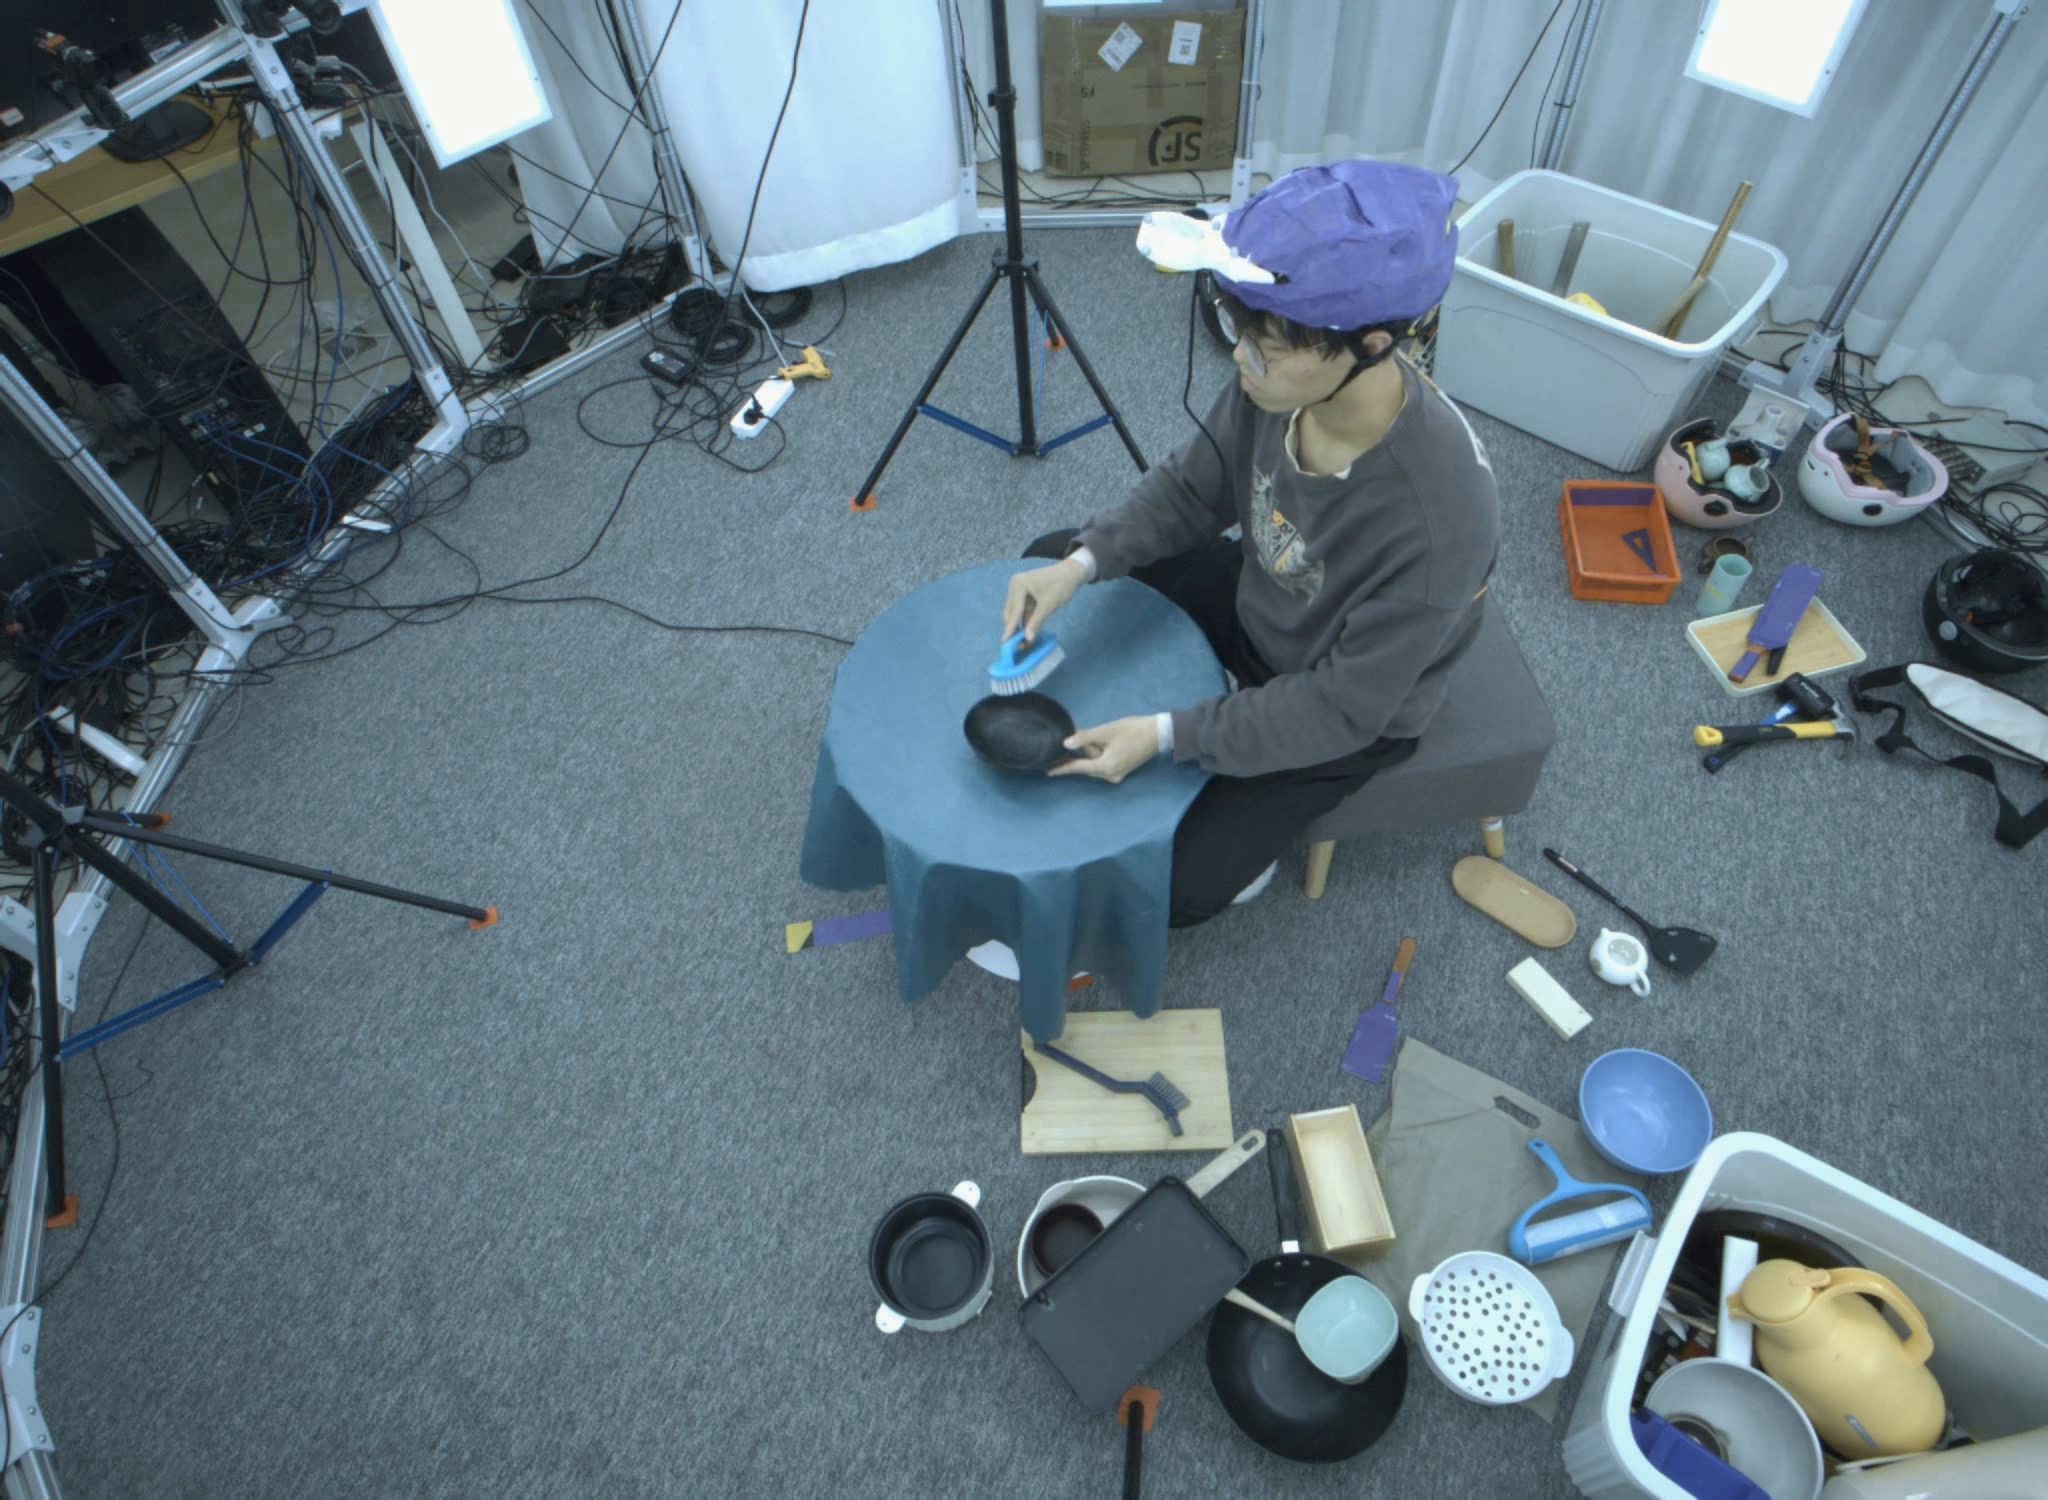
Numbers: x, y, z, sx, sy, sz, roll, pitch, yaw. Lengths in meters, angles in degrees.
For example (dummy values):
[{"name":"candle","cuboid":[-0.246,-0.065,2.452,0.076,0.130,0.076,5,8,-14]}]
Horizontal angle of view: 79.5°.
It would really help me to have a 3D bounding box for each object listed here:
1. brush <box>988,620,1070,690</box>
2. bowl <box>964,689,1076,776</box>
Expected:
[{"name":"brush","cuboid":[0.001,-0.146,1.774,0.082,0.064,0.143,0,30,39]},{"name":"bowl","cuboid":[-0.006,-0.014,1.756,0.168,0.067,0.138,22,57,19]}]
